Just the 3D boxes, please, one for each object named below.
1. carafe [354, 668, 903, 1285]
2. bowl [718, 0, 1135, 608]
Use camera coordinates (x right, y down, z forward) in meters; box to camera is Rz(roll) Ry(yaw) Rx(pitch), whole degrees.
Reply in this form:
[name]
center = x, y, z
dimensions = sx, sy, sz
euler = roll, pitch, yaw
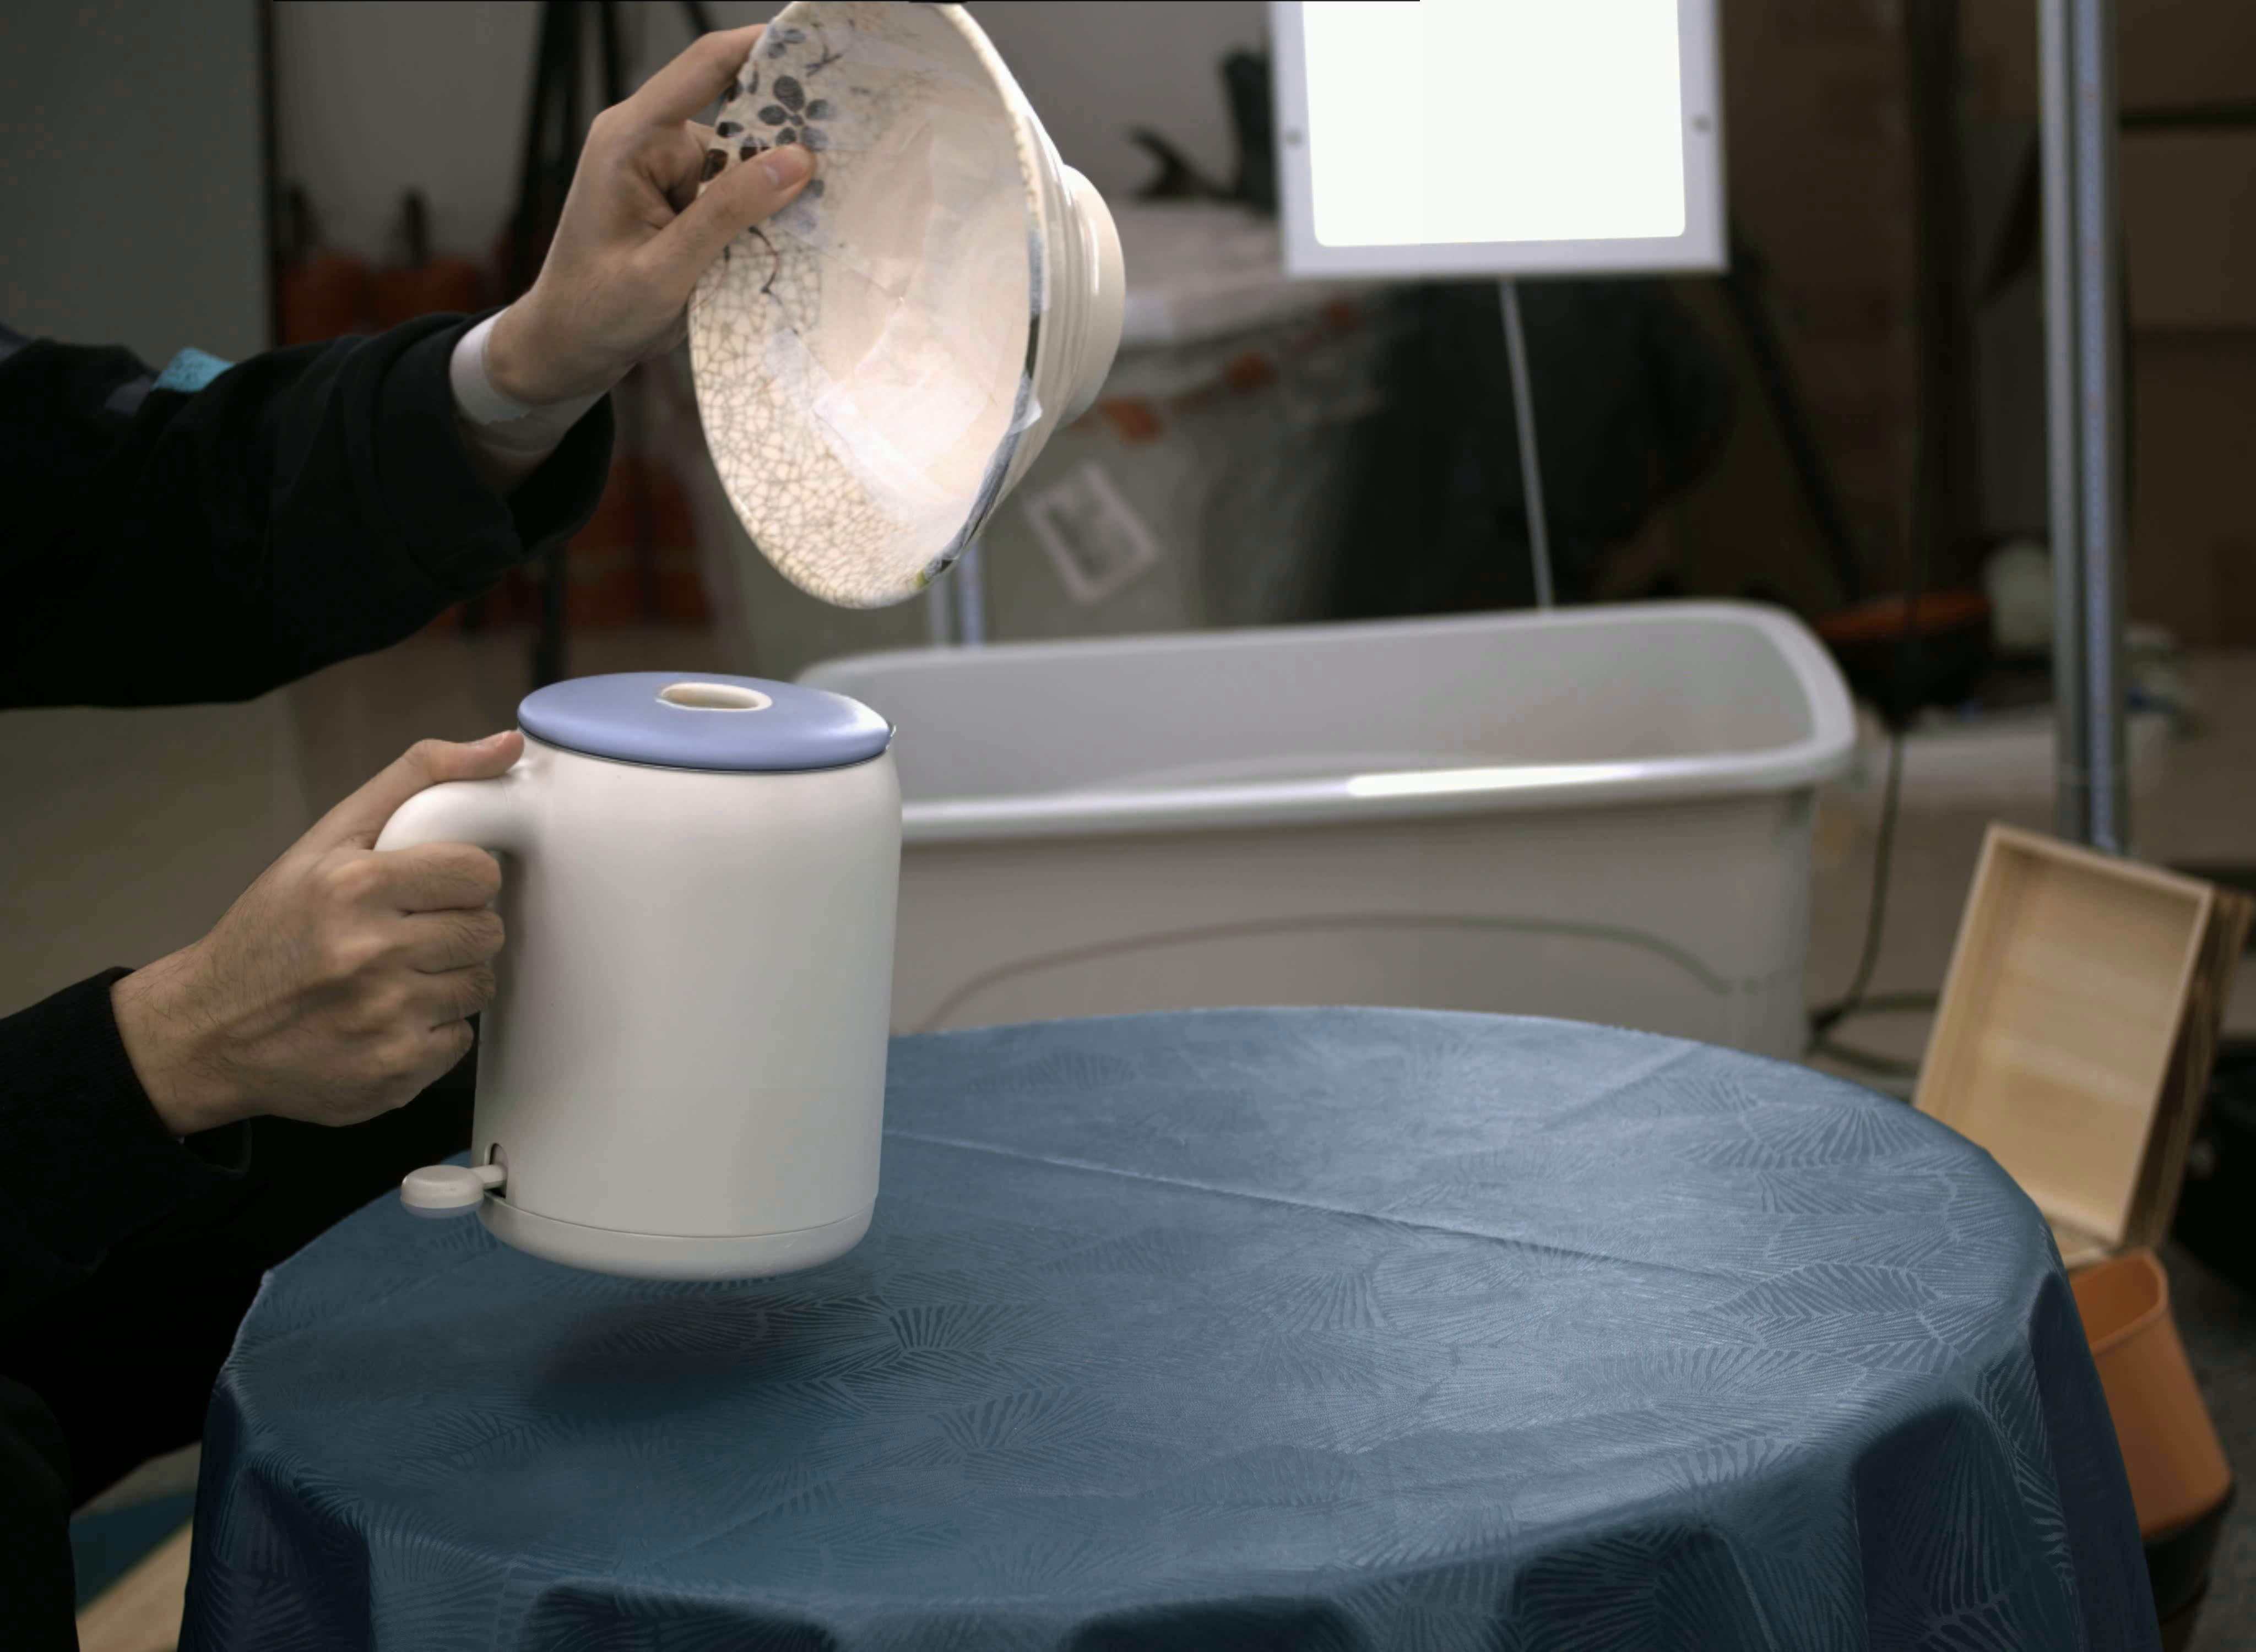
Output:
[carafe]
center = -0.159, 0.049, 1.744
dimensions = 0.186, 0.183, 0.135
euler = -7, 15, -33
[bowl]
center = -0.052, -0.172, 1.766
dimensions = 0.076, 0.205, 0.208
euler = -1, 10, -30
